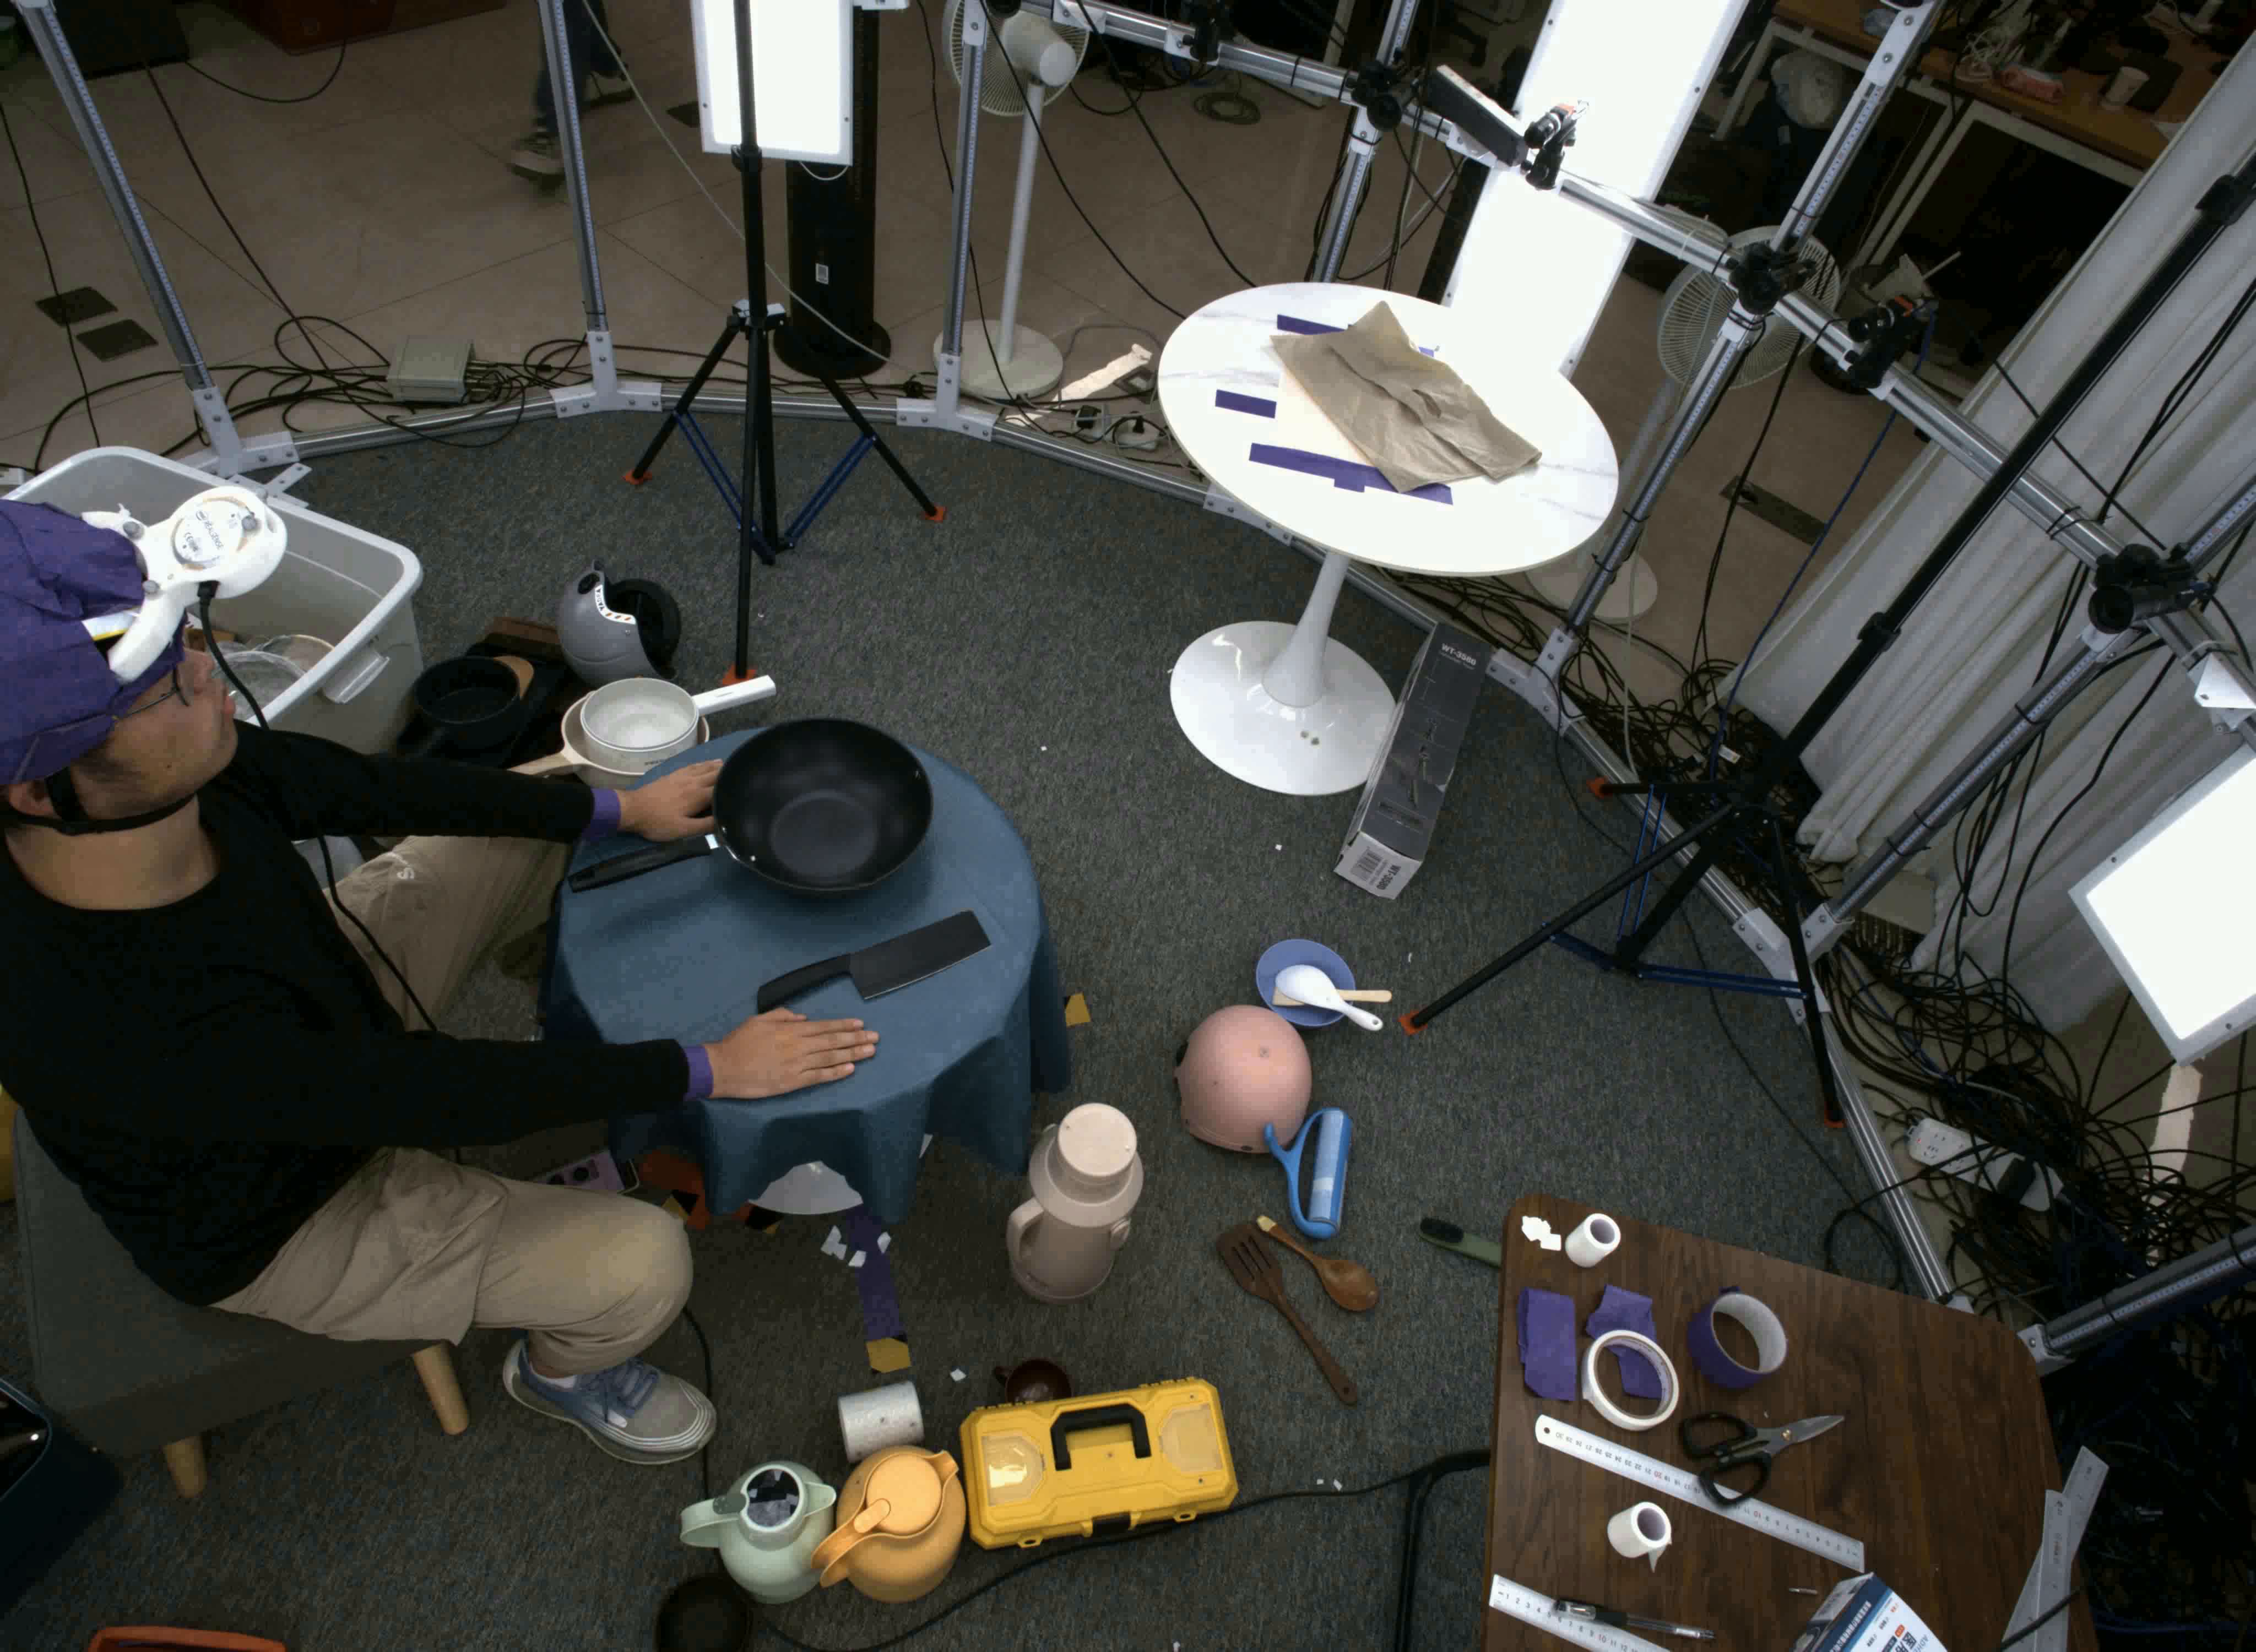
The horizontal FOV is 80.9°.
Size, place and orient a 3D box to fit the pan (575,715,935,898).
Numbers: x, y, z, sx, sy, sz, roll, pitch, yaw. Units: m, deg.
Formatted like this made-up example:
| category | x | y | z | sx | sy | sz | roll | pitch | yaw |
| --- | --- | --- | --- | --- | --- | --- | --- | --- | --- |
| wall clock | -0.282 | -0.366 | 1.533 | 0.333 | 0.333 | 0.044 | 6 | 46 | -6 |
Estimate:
| category | x | y | z | sx | sy | sz | roll | pitch | yaw |
| --- | --- | --- | --- | --- | --- | --- | --- | --- | --- |
| pan | -0.469 | 0.016 | 1.644 | 0.465 | 0.088 | 0.281 | -21 | 61 | -26 |

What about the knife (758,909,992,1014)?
| category | x | y | z | sx | sy | sz | roll | pitch | yaw |
| --- | --- | --- | --- | --- | --- | --- | --- | --- | --- |
| knife | -0.313 | 0.172 | 1.613 | 0.304 | 0.021 | 0.079 | -16 | 61 | -27 |
